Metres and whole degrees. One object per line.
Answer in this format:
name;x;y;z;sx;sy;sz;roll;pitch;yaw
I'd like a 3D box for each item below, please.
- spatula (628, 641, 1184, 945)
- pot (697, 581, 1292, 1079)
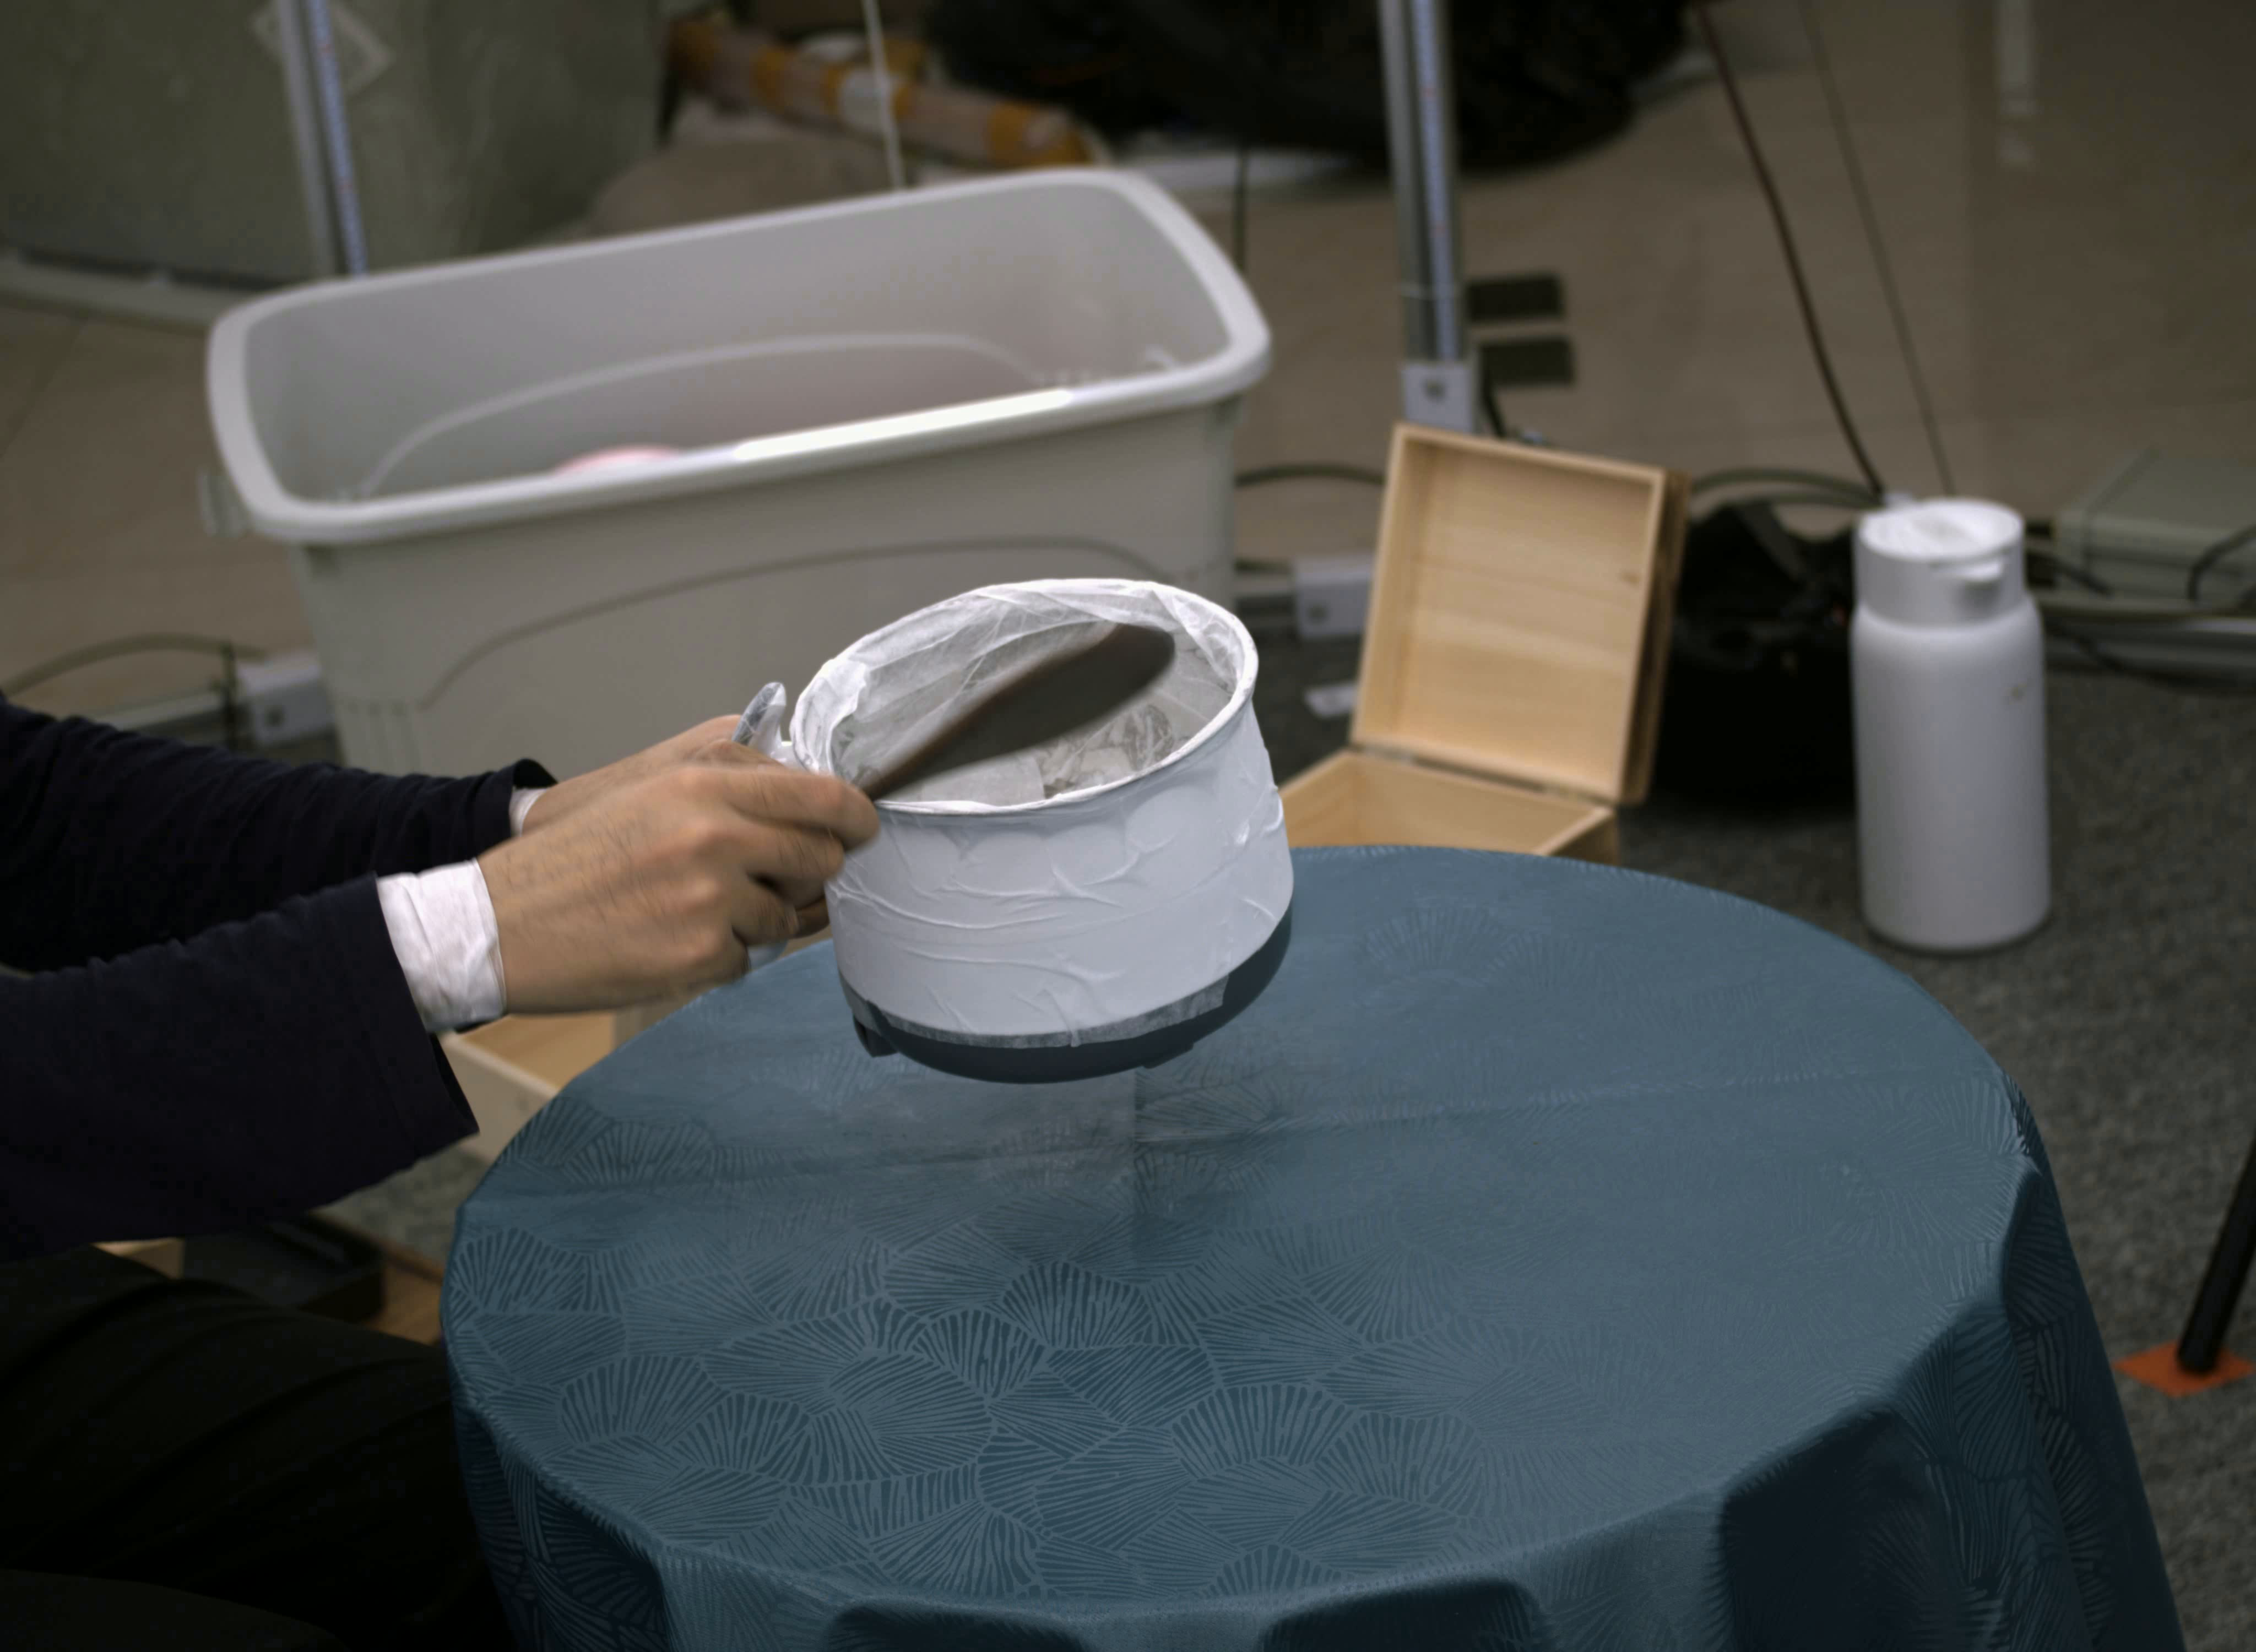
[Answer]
spatula;-0.076;-0.008;1.942;0.215;0.073;0.009;-28;71;-12
pot;-0.056;0.004;2.146;0.233;0.139;0.176;0;29;15
